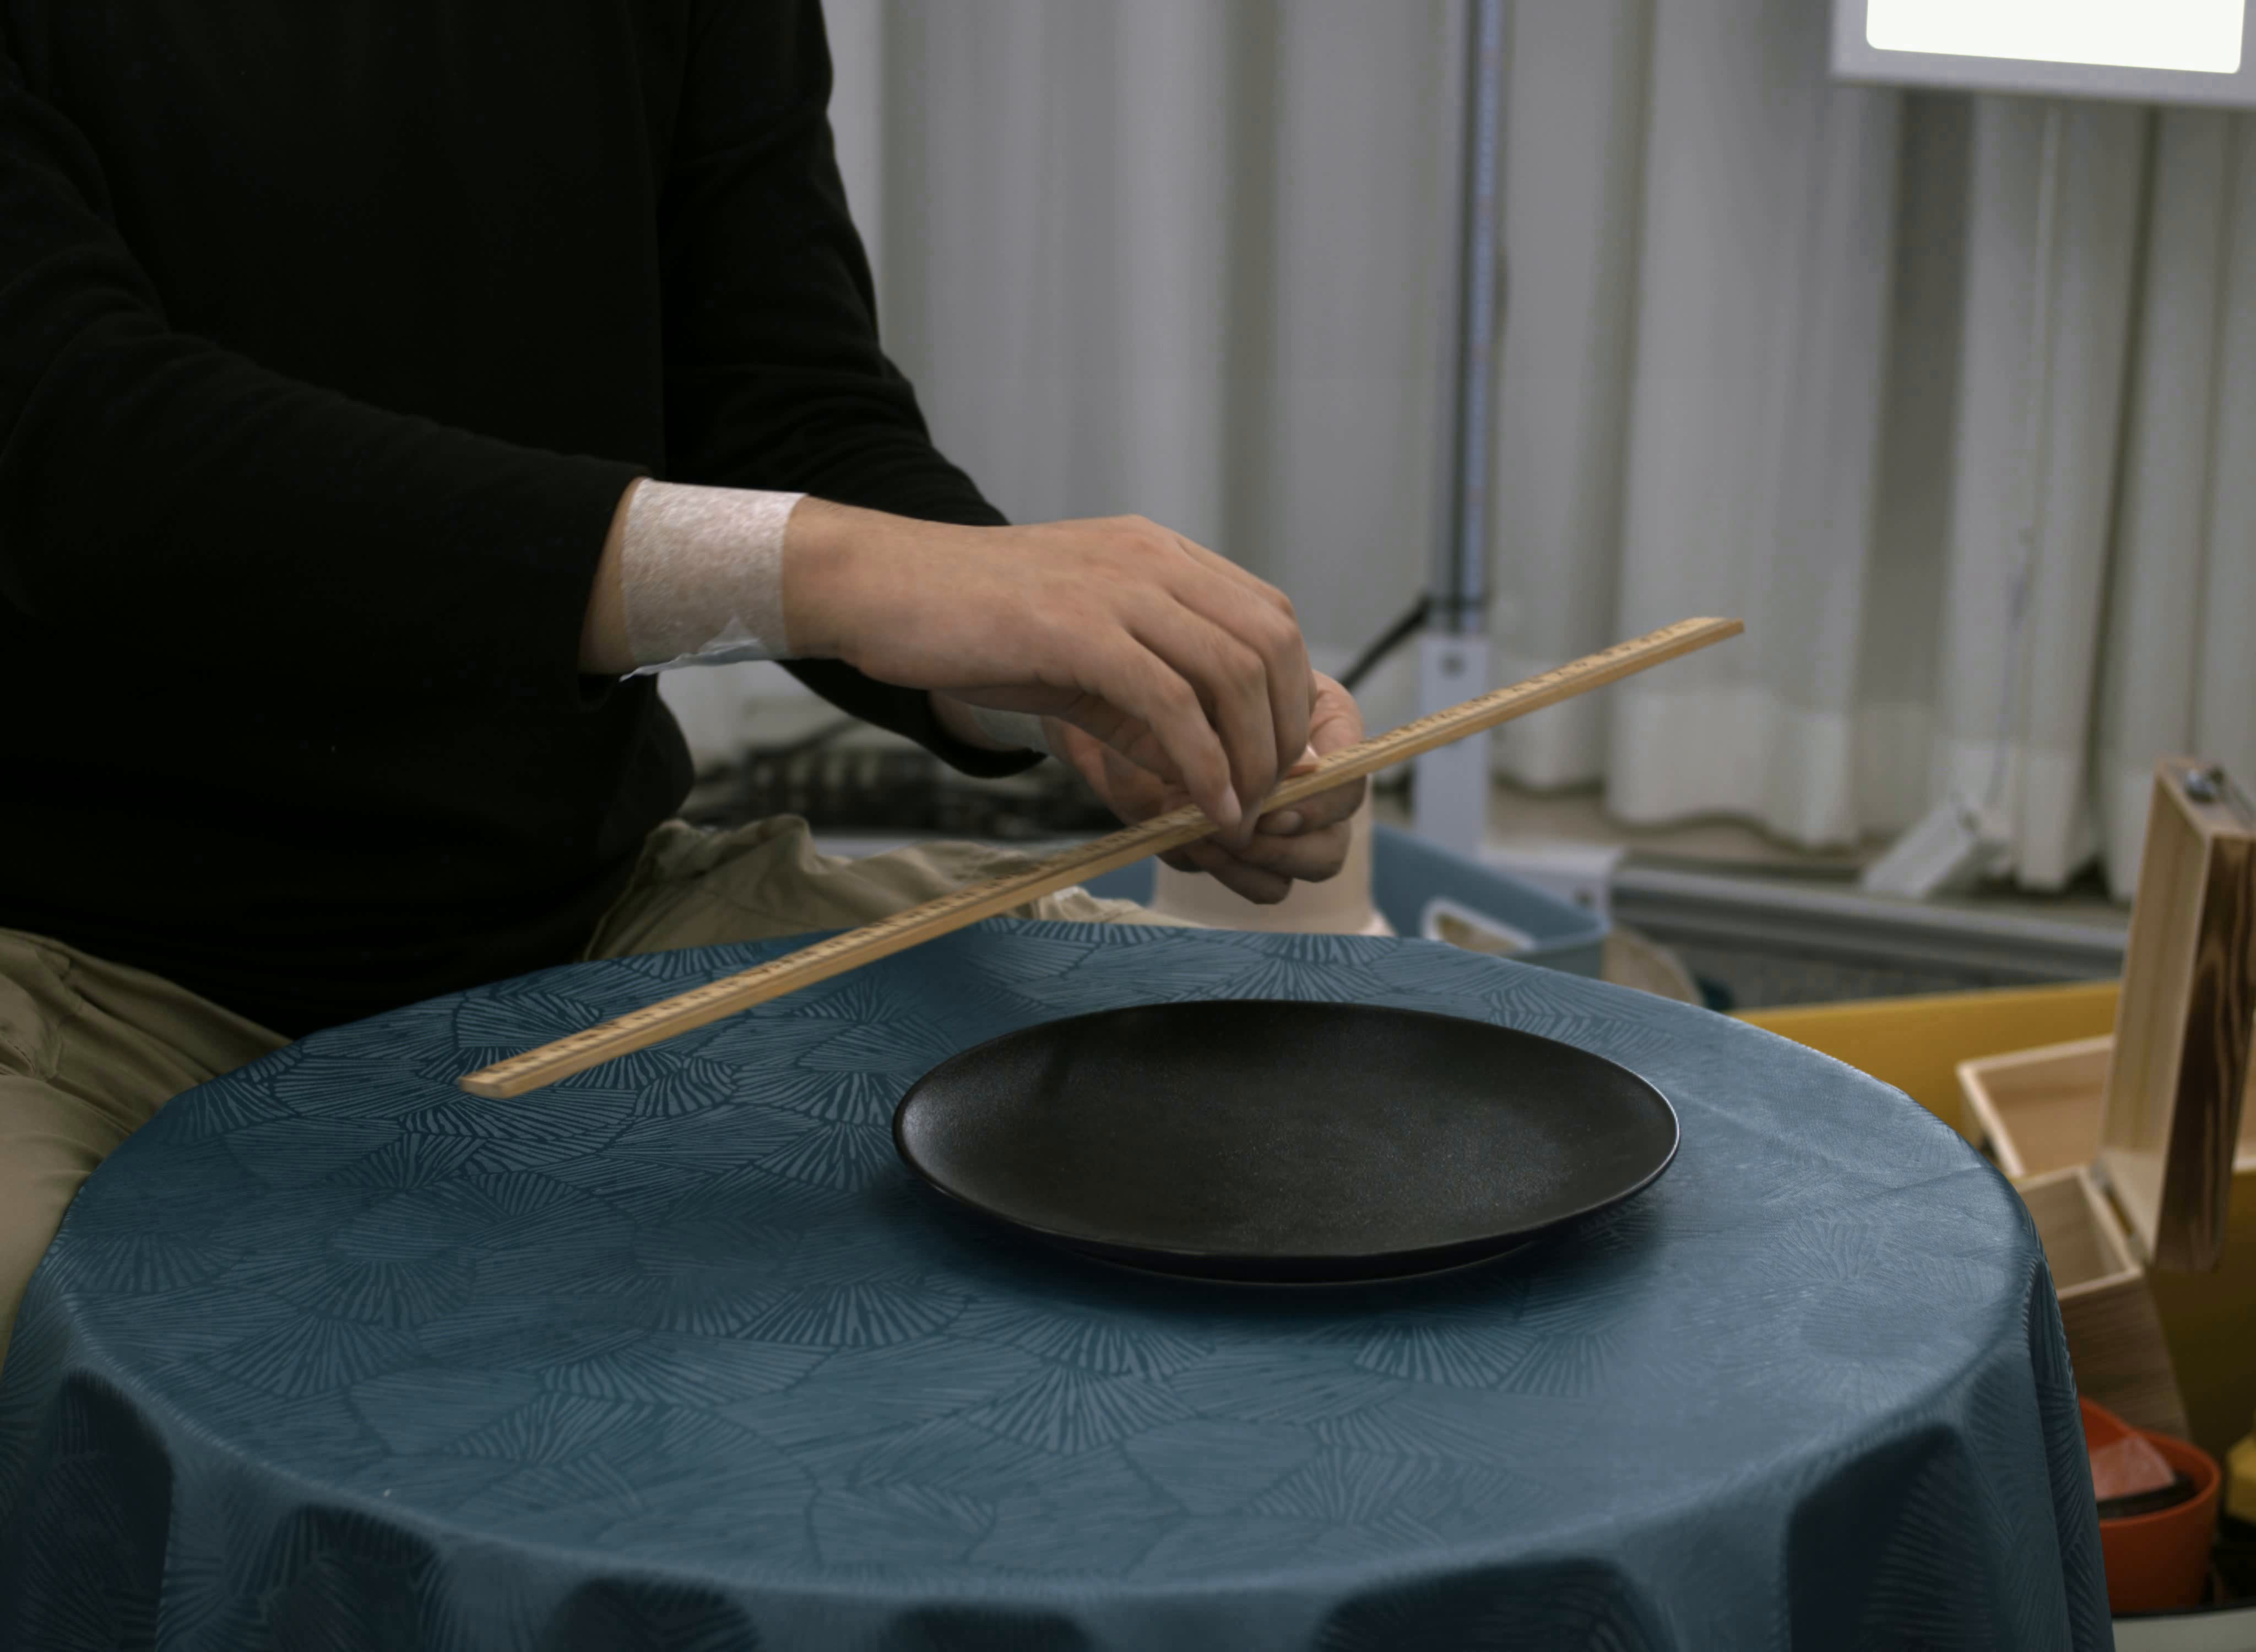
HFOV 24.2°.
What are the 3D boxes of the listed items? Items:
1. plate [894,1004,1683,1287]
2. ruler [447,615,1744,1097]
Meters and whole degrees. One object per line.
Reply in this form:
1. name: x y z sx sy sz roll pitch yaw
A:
1. plate: 0.050 0.100 1.623 0.243 0.023 0.243 0 15 0
2. ruler: 0.005 0.003 1.634 0.502 0.006 0.026 -20 13 -34
